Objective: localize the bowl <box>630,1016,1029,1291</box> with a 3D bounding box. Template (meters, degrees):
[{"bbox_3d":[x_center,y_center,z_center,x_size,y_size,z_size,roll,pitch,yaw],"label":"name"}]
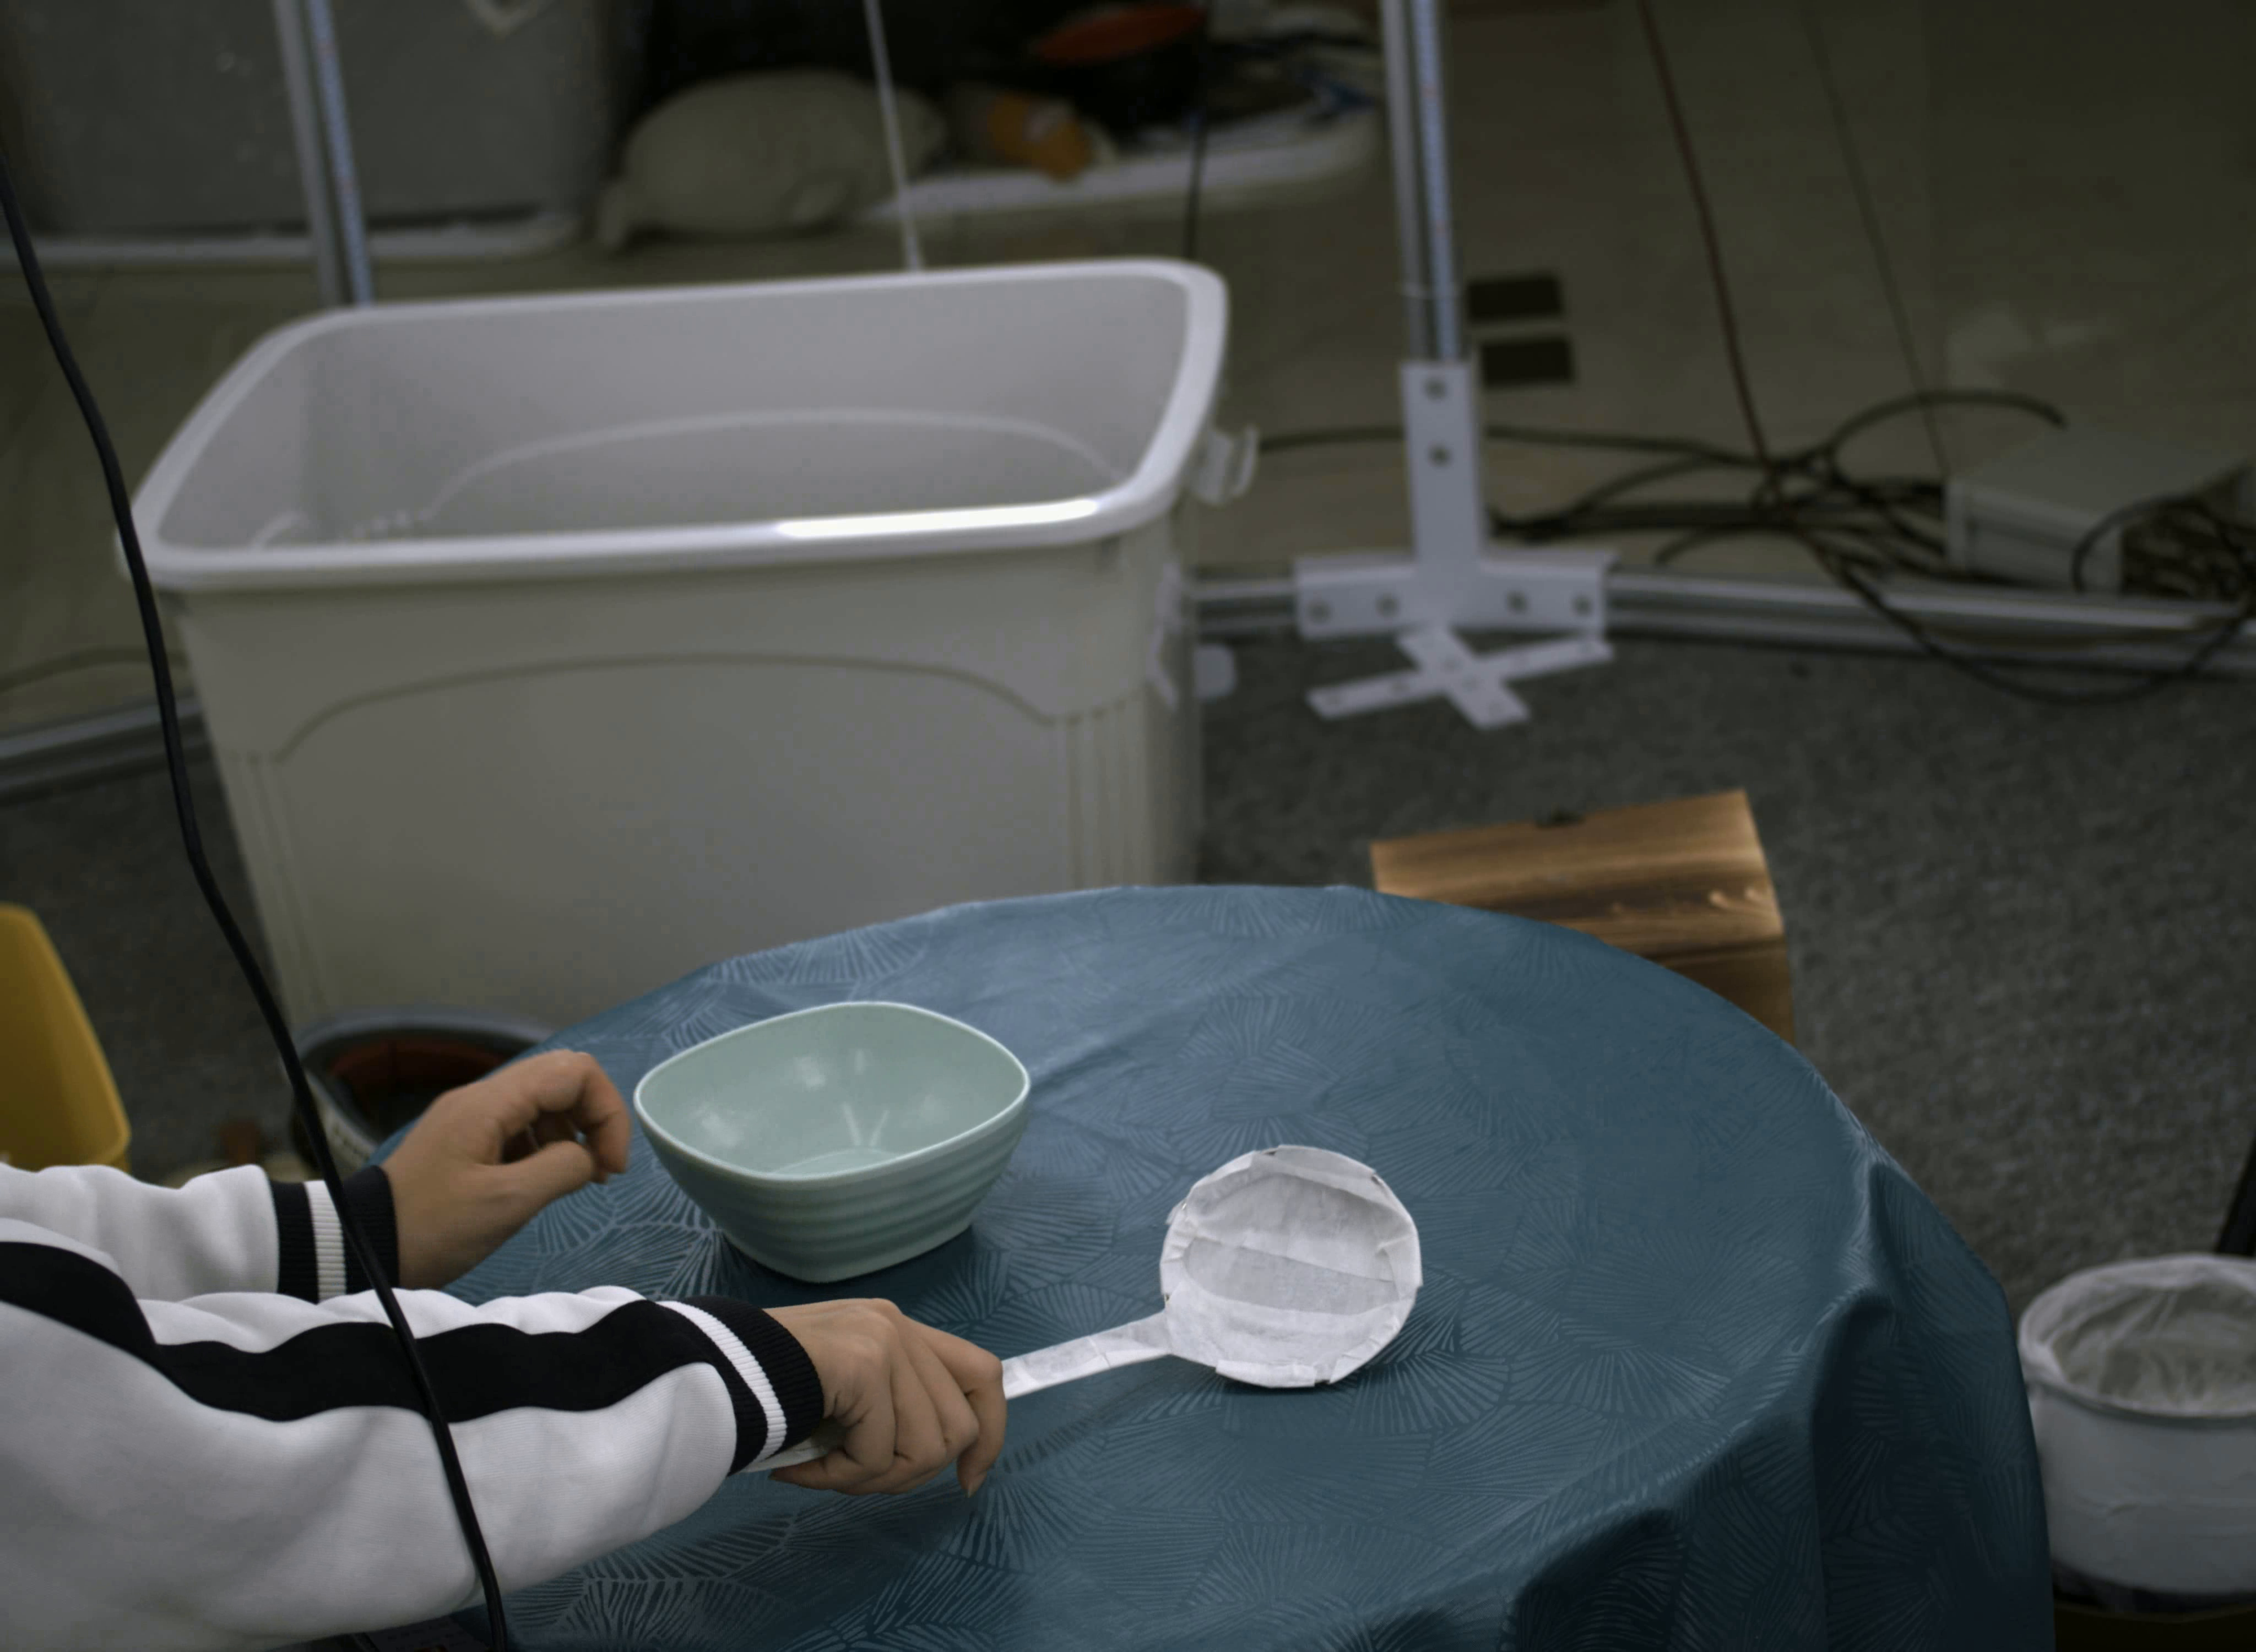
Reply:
[{"bbox_3d":[-0.110,0.128,2.133,0.151,0.059,0.149,-3,22,1],"label":"bowl"}]

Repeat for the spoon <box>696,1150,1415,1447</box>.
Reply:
[{"bbox_3d":[-0.026,0.166,1.967,0.276,0.060,0.099,-7,47,-35],"label":"spoon"}]
